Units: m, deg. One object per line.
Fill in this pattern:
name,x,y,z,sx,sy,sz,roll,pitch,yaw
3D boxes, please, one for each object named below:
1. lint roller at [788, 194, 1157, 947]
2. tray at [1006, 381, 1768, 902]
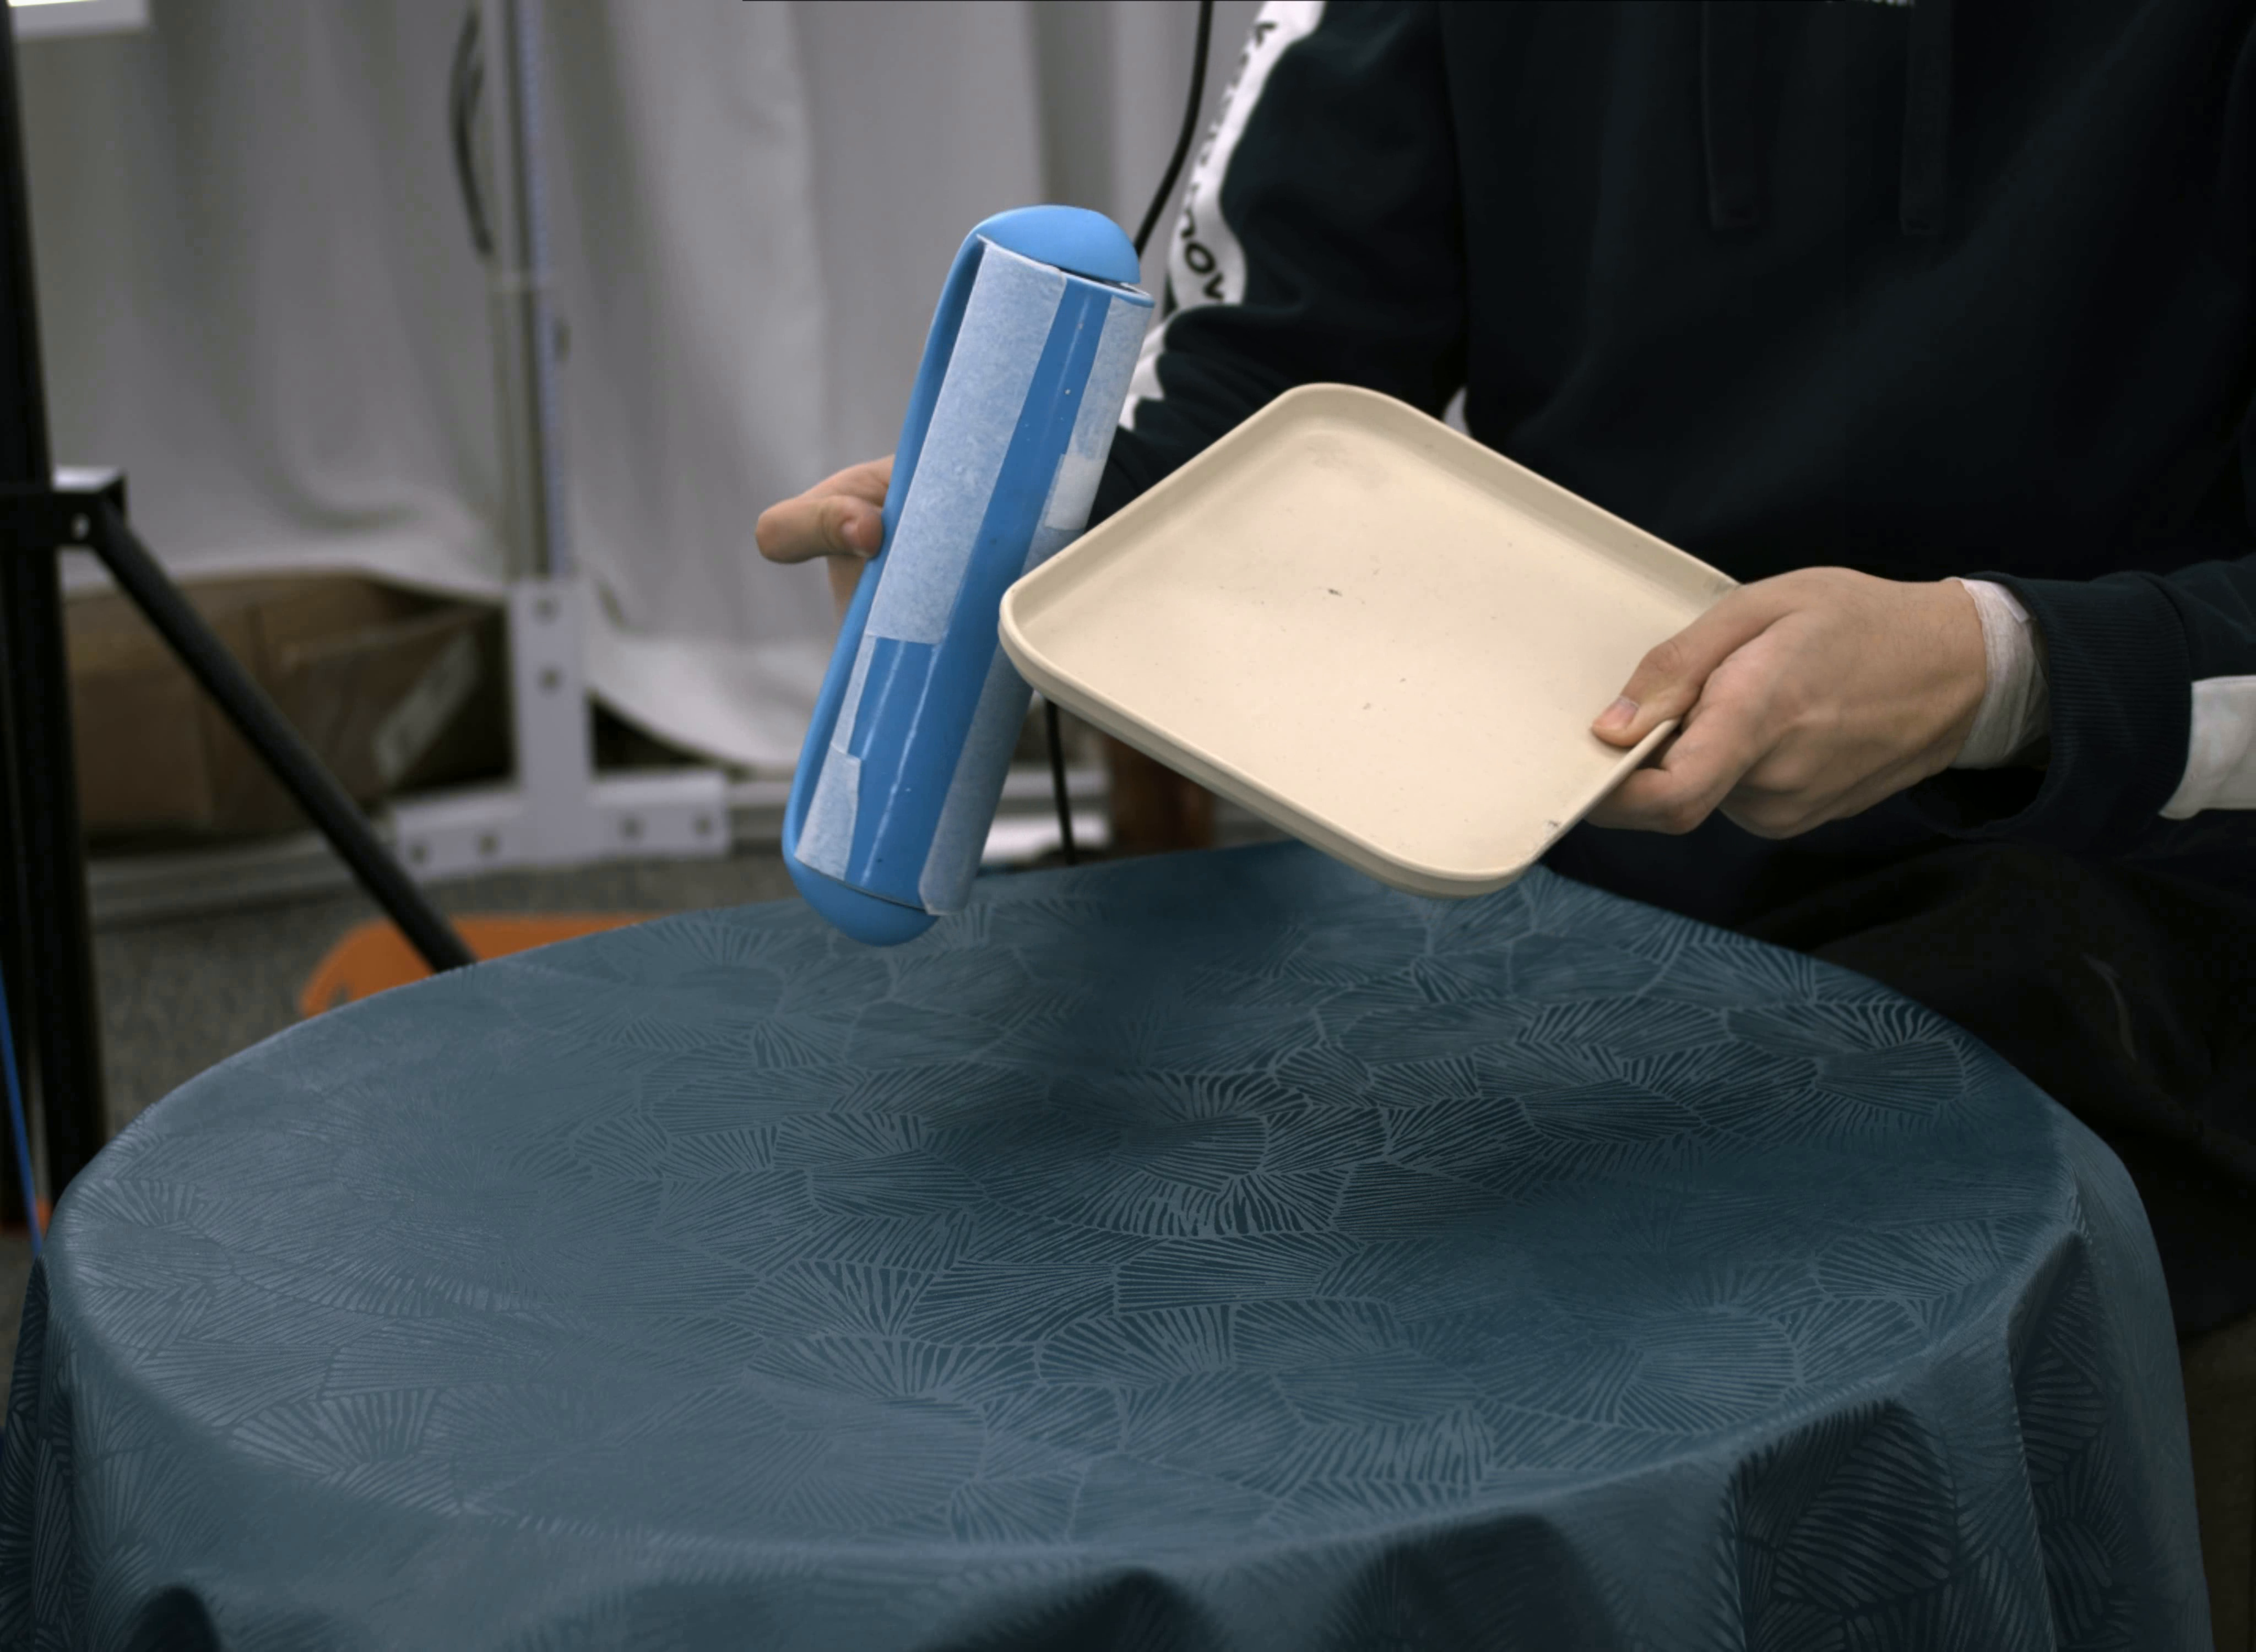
lint roller,-0.047,-0.080,1.639,0.067,0.230,0.180,16,4,-3
tray,0.078,-0.056,1.559,0.173,0.017,0.236,28,34,17
